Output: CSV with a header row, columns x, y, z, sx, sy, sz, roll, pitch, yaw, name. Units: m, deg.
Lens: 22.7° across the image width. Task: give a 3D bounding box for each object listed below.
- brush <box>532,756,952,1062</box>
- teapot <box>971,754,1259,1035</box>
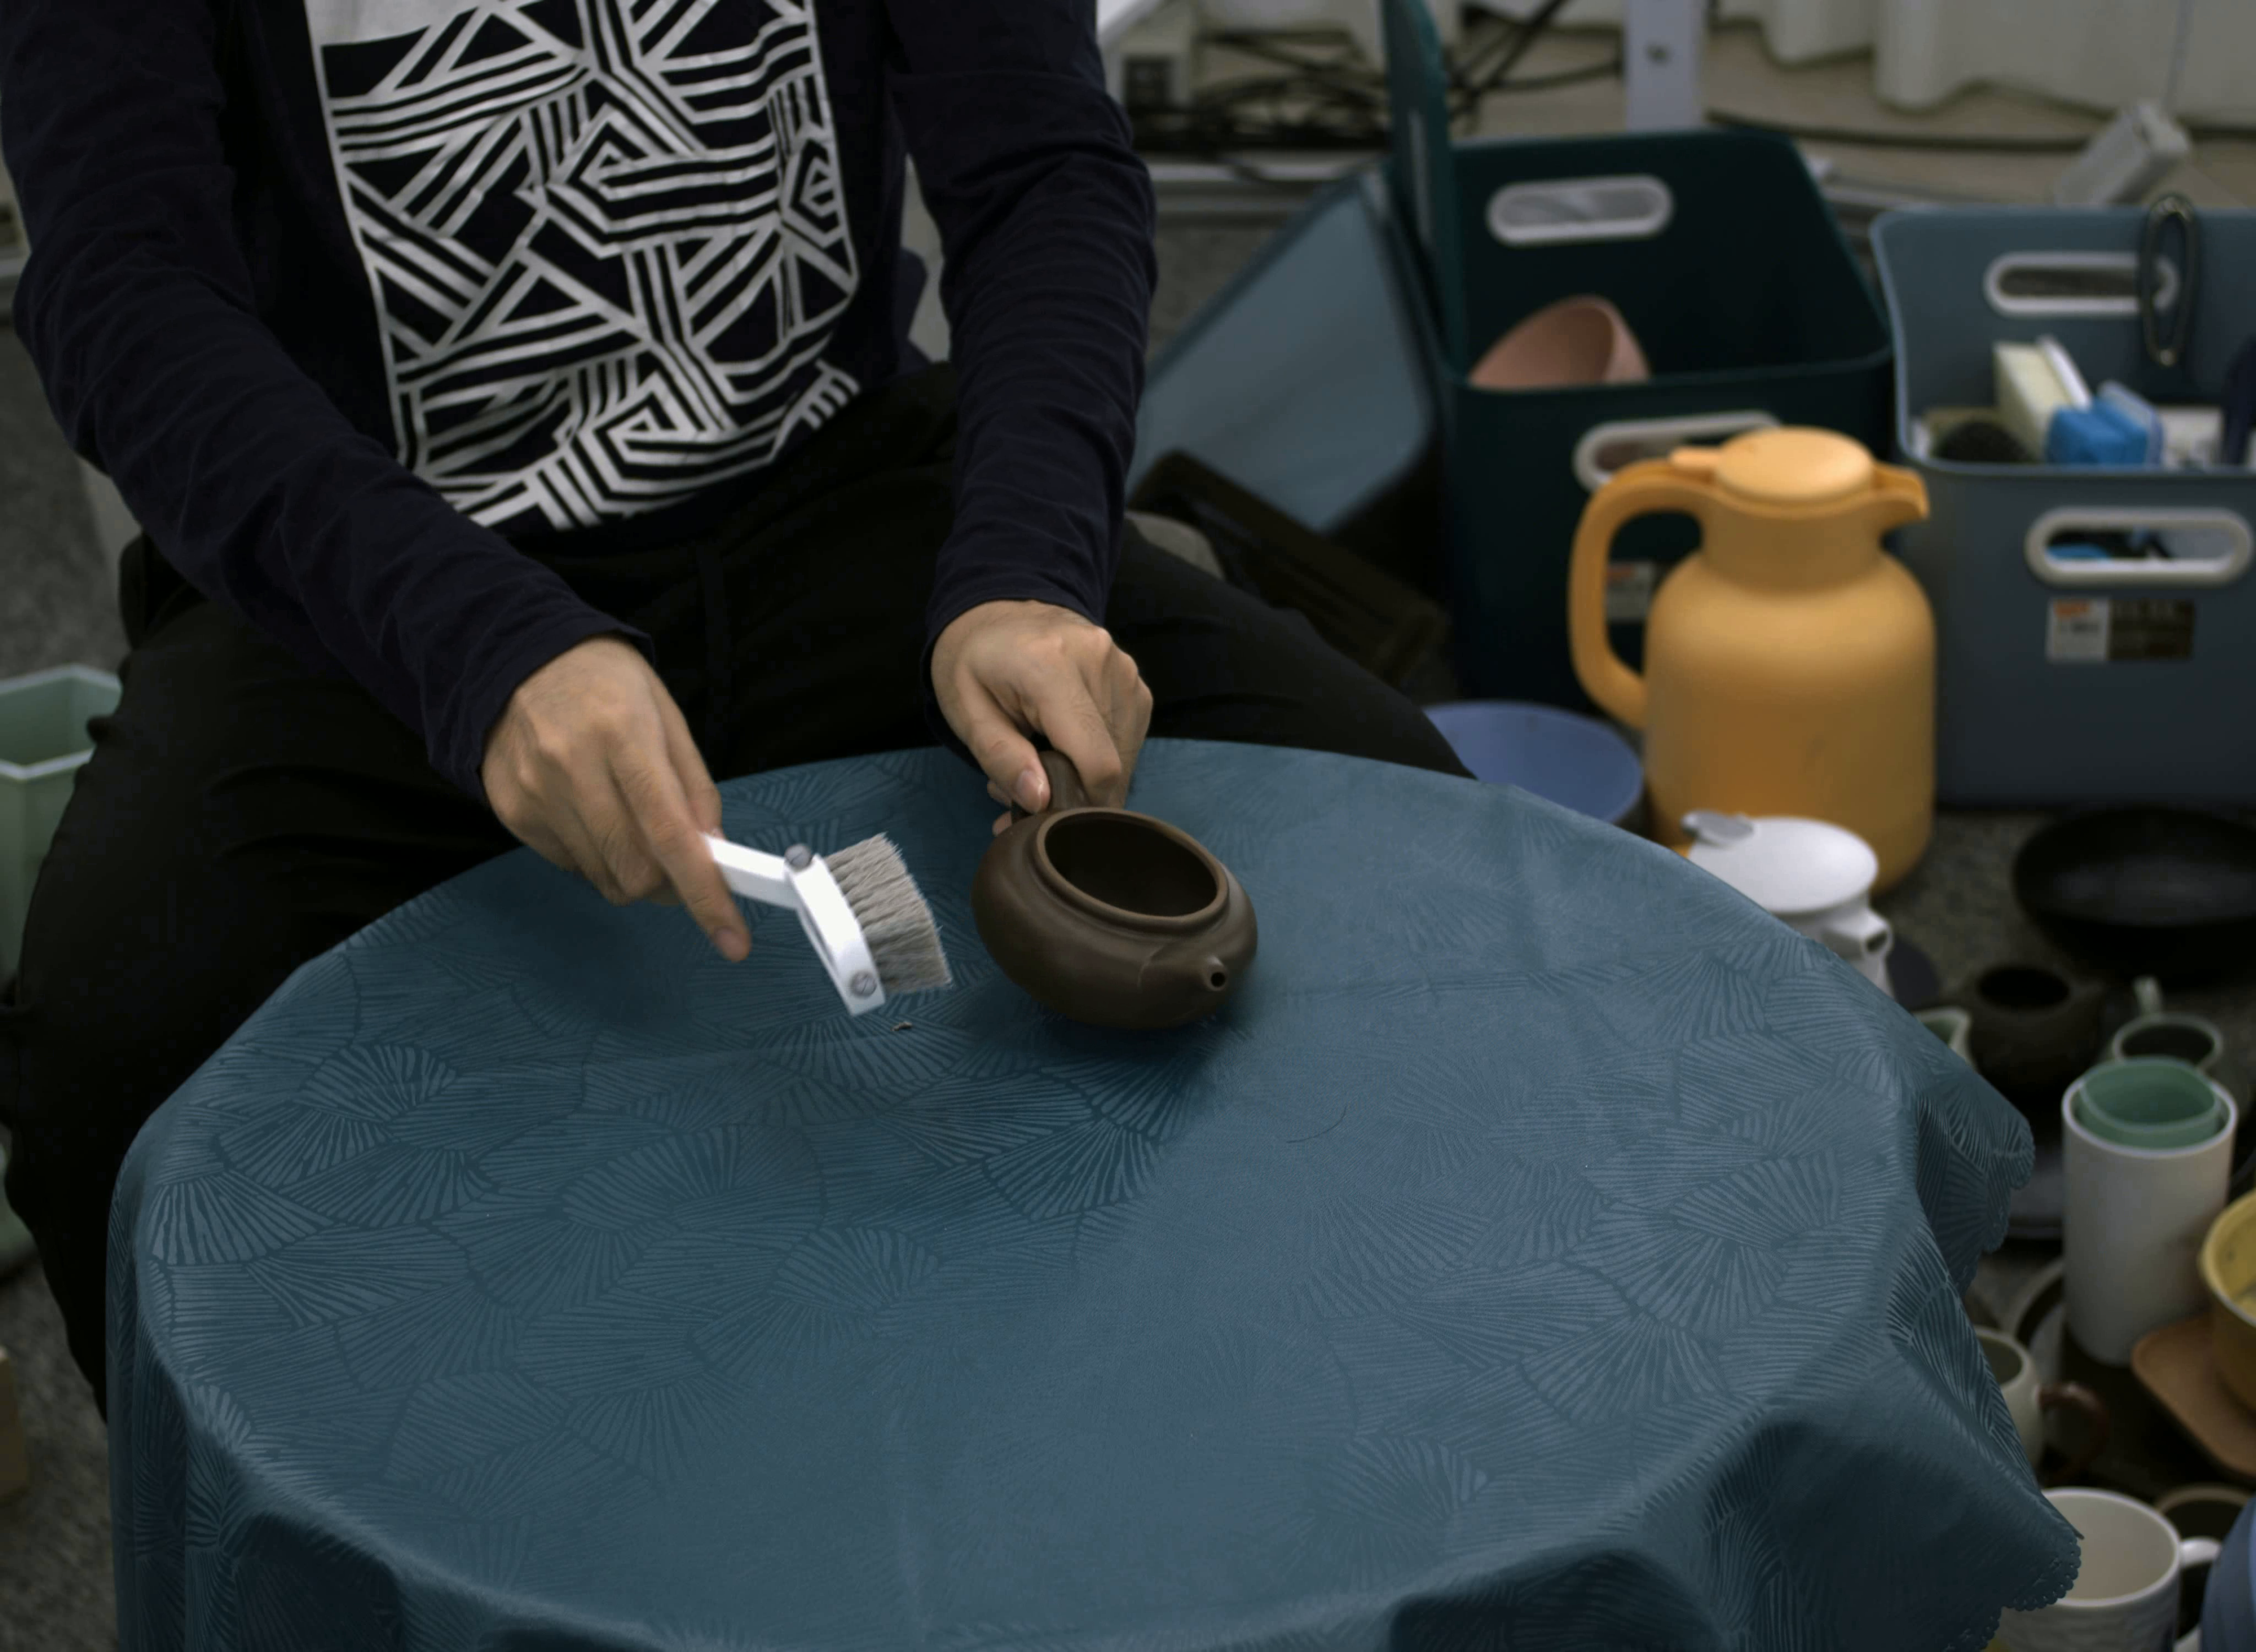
x,y,z,sx,sy,sz,roll,pitch,yaw,name
-0.133,0.017,1.952,0.050,0.034,0.244,-31,36,-20,brush
-0.006,0.029,1.964,0.103,0.053,0.155,-5,37,-33,teapot
